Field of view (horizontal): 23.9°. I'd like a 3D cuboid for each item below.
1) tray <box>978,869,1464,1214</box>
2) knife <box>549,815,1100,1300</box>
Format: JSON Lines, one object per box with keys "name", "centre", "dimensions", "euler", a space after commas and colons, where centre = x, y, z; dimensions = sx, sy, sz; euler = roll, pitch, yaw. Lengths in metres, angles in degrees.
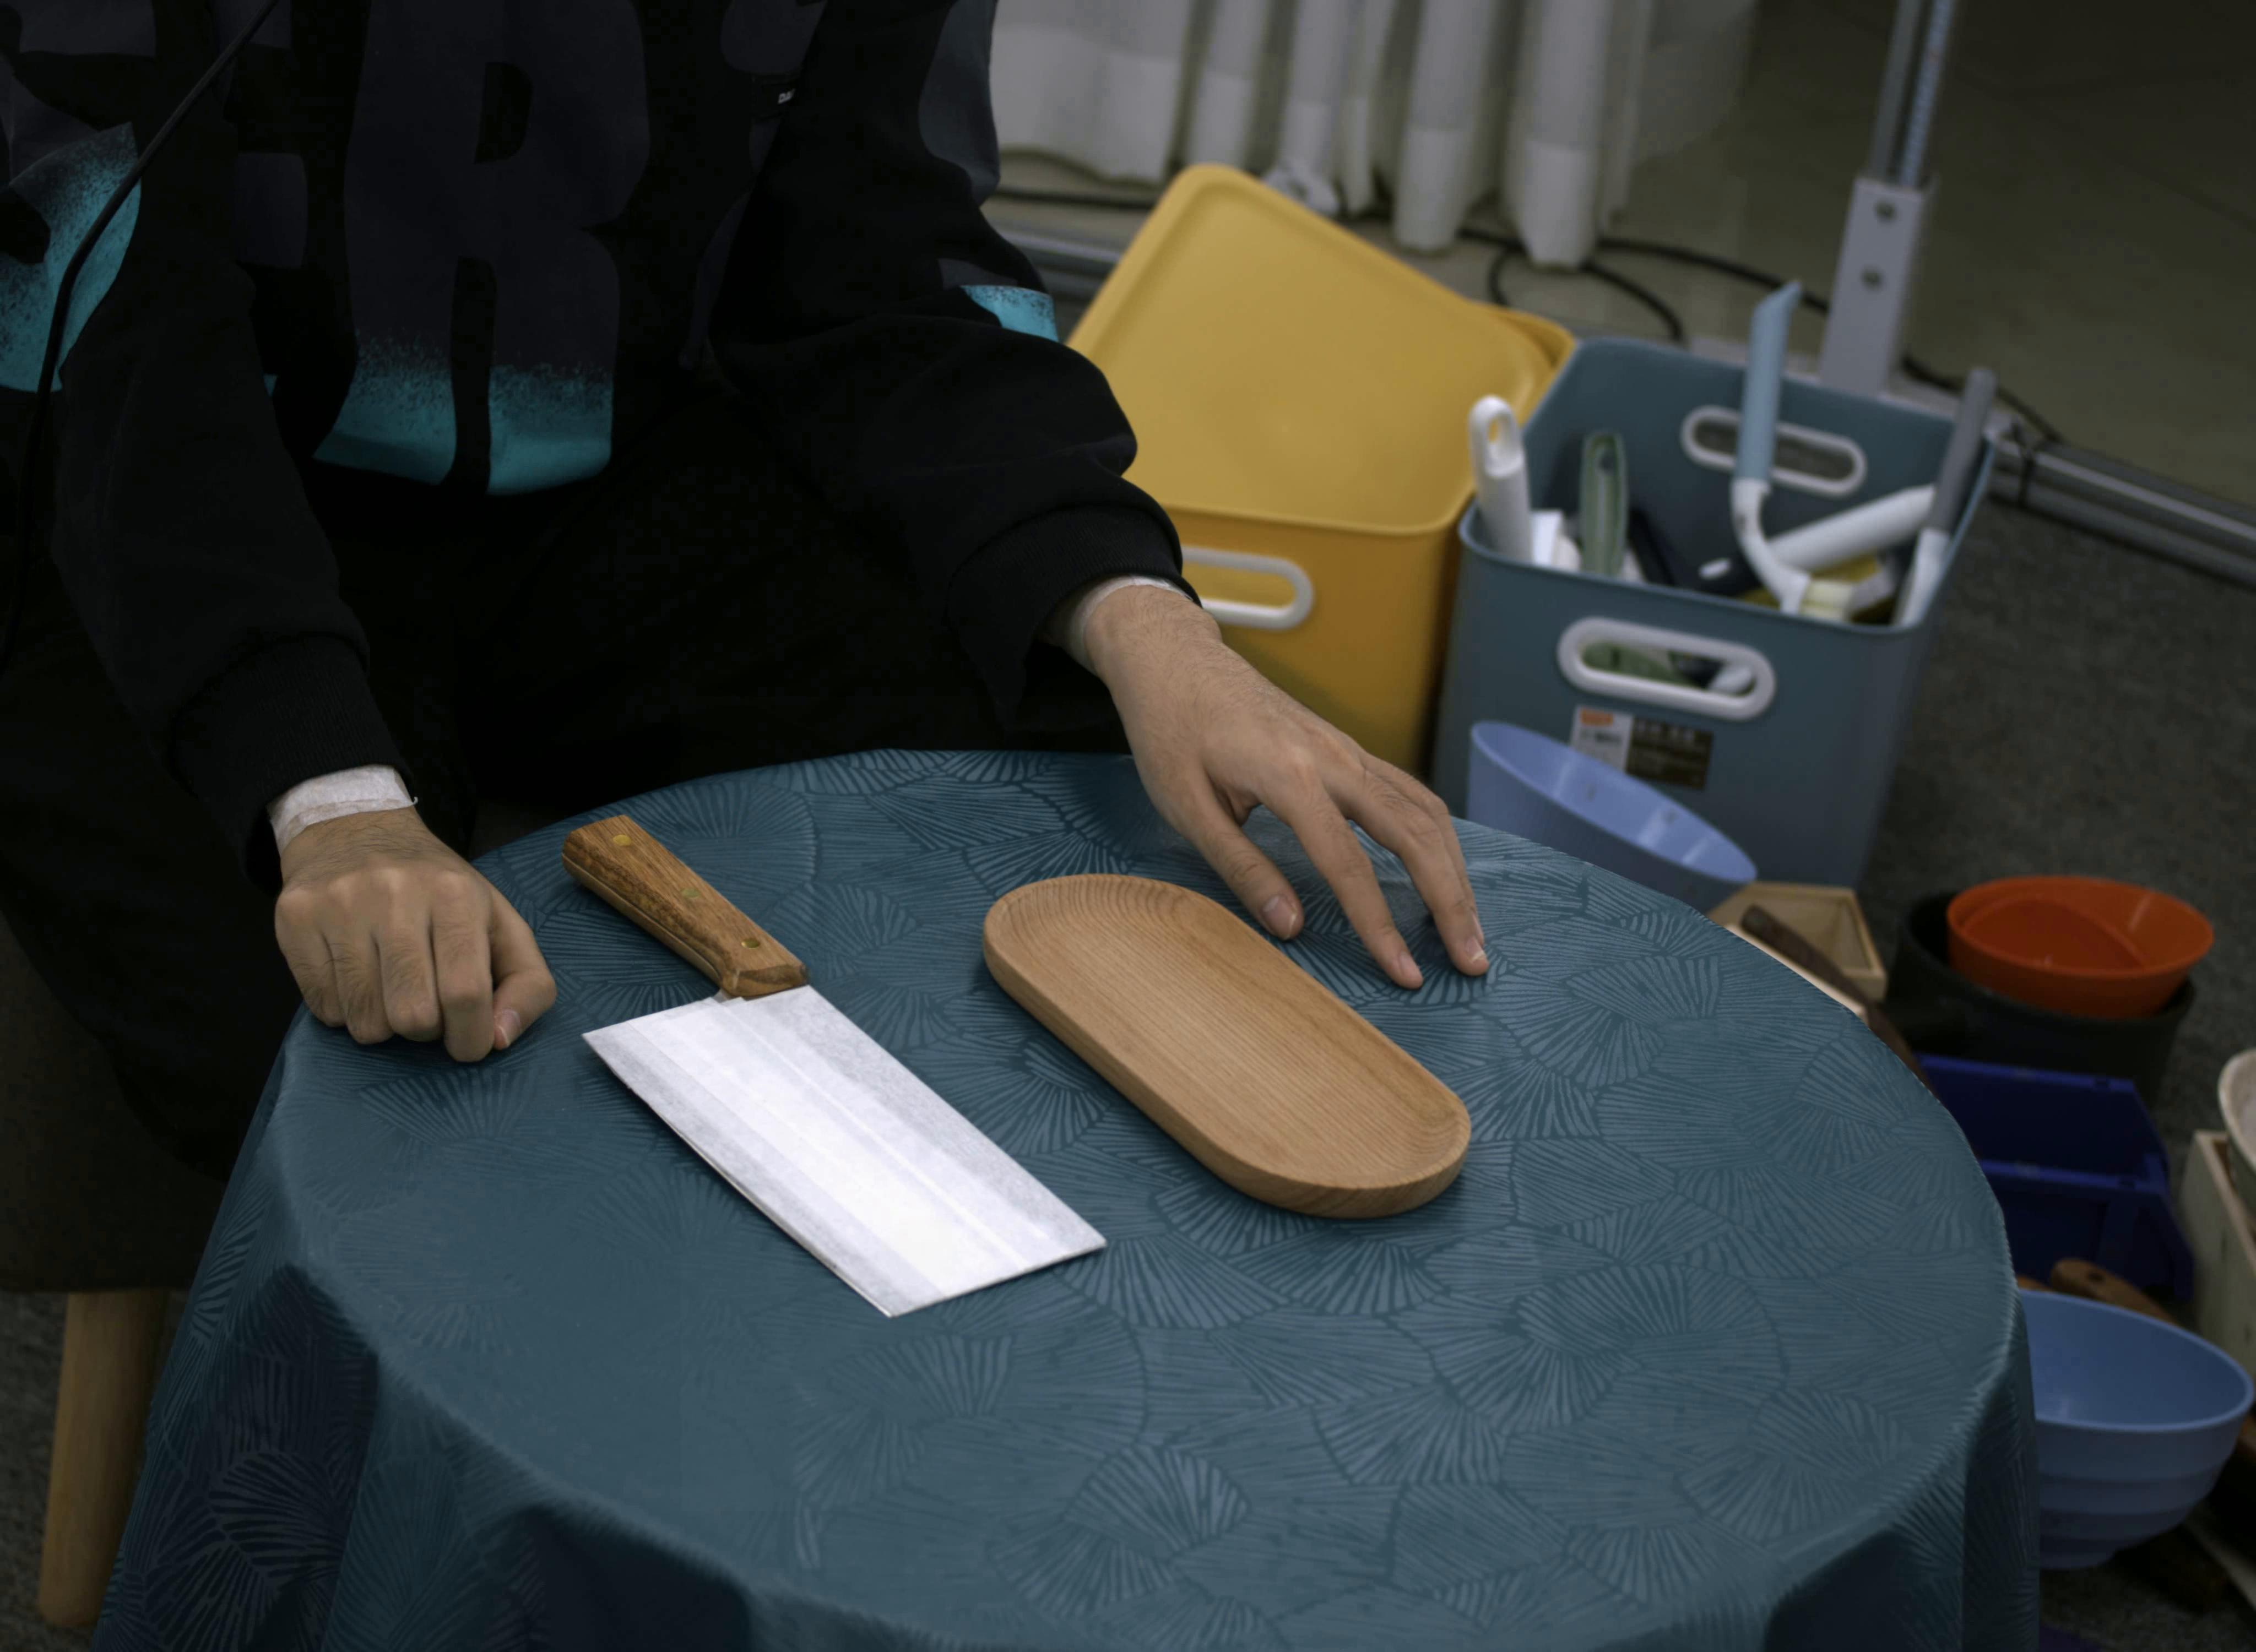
{"name": "tray", "centre": [0.031, 0.074, 1.887], "dimensions": [0.101, 0.020, 0.233], "euler": [-10, 30, -31]}
{"name": "knife", "centre": [-0.130, 0.079, 1.844], "dimensions": [0.092, 0.021, 0.308], "euler": [-16, 37, -33]}
